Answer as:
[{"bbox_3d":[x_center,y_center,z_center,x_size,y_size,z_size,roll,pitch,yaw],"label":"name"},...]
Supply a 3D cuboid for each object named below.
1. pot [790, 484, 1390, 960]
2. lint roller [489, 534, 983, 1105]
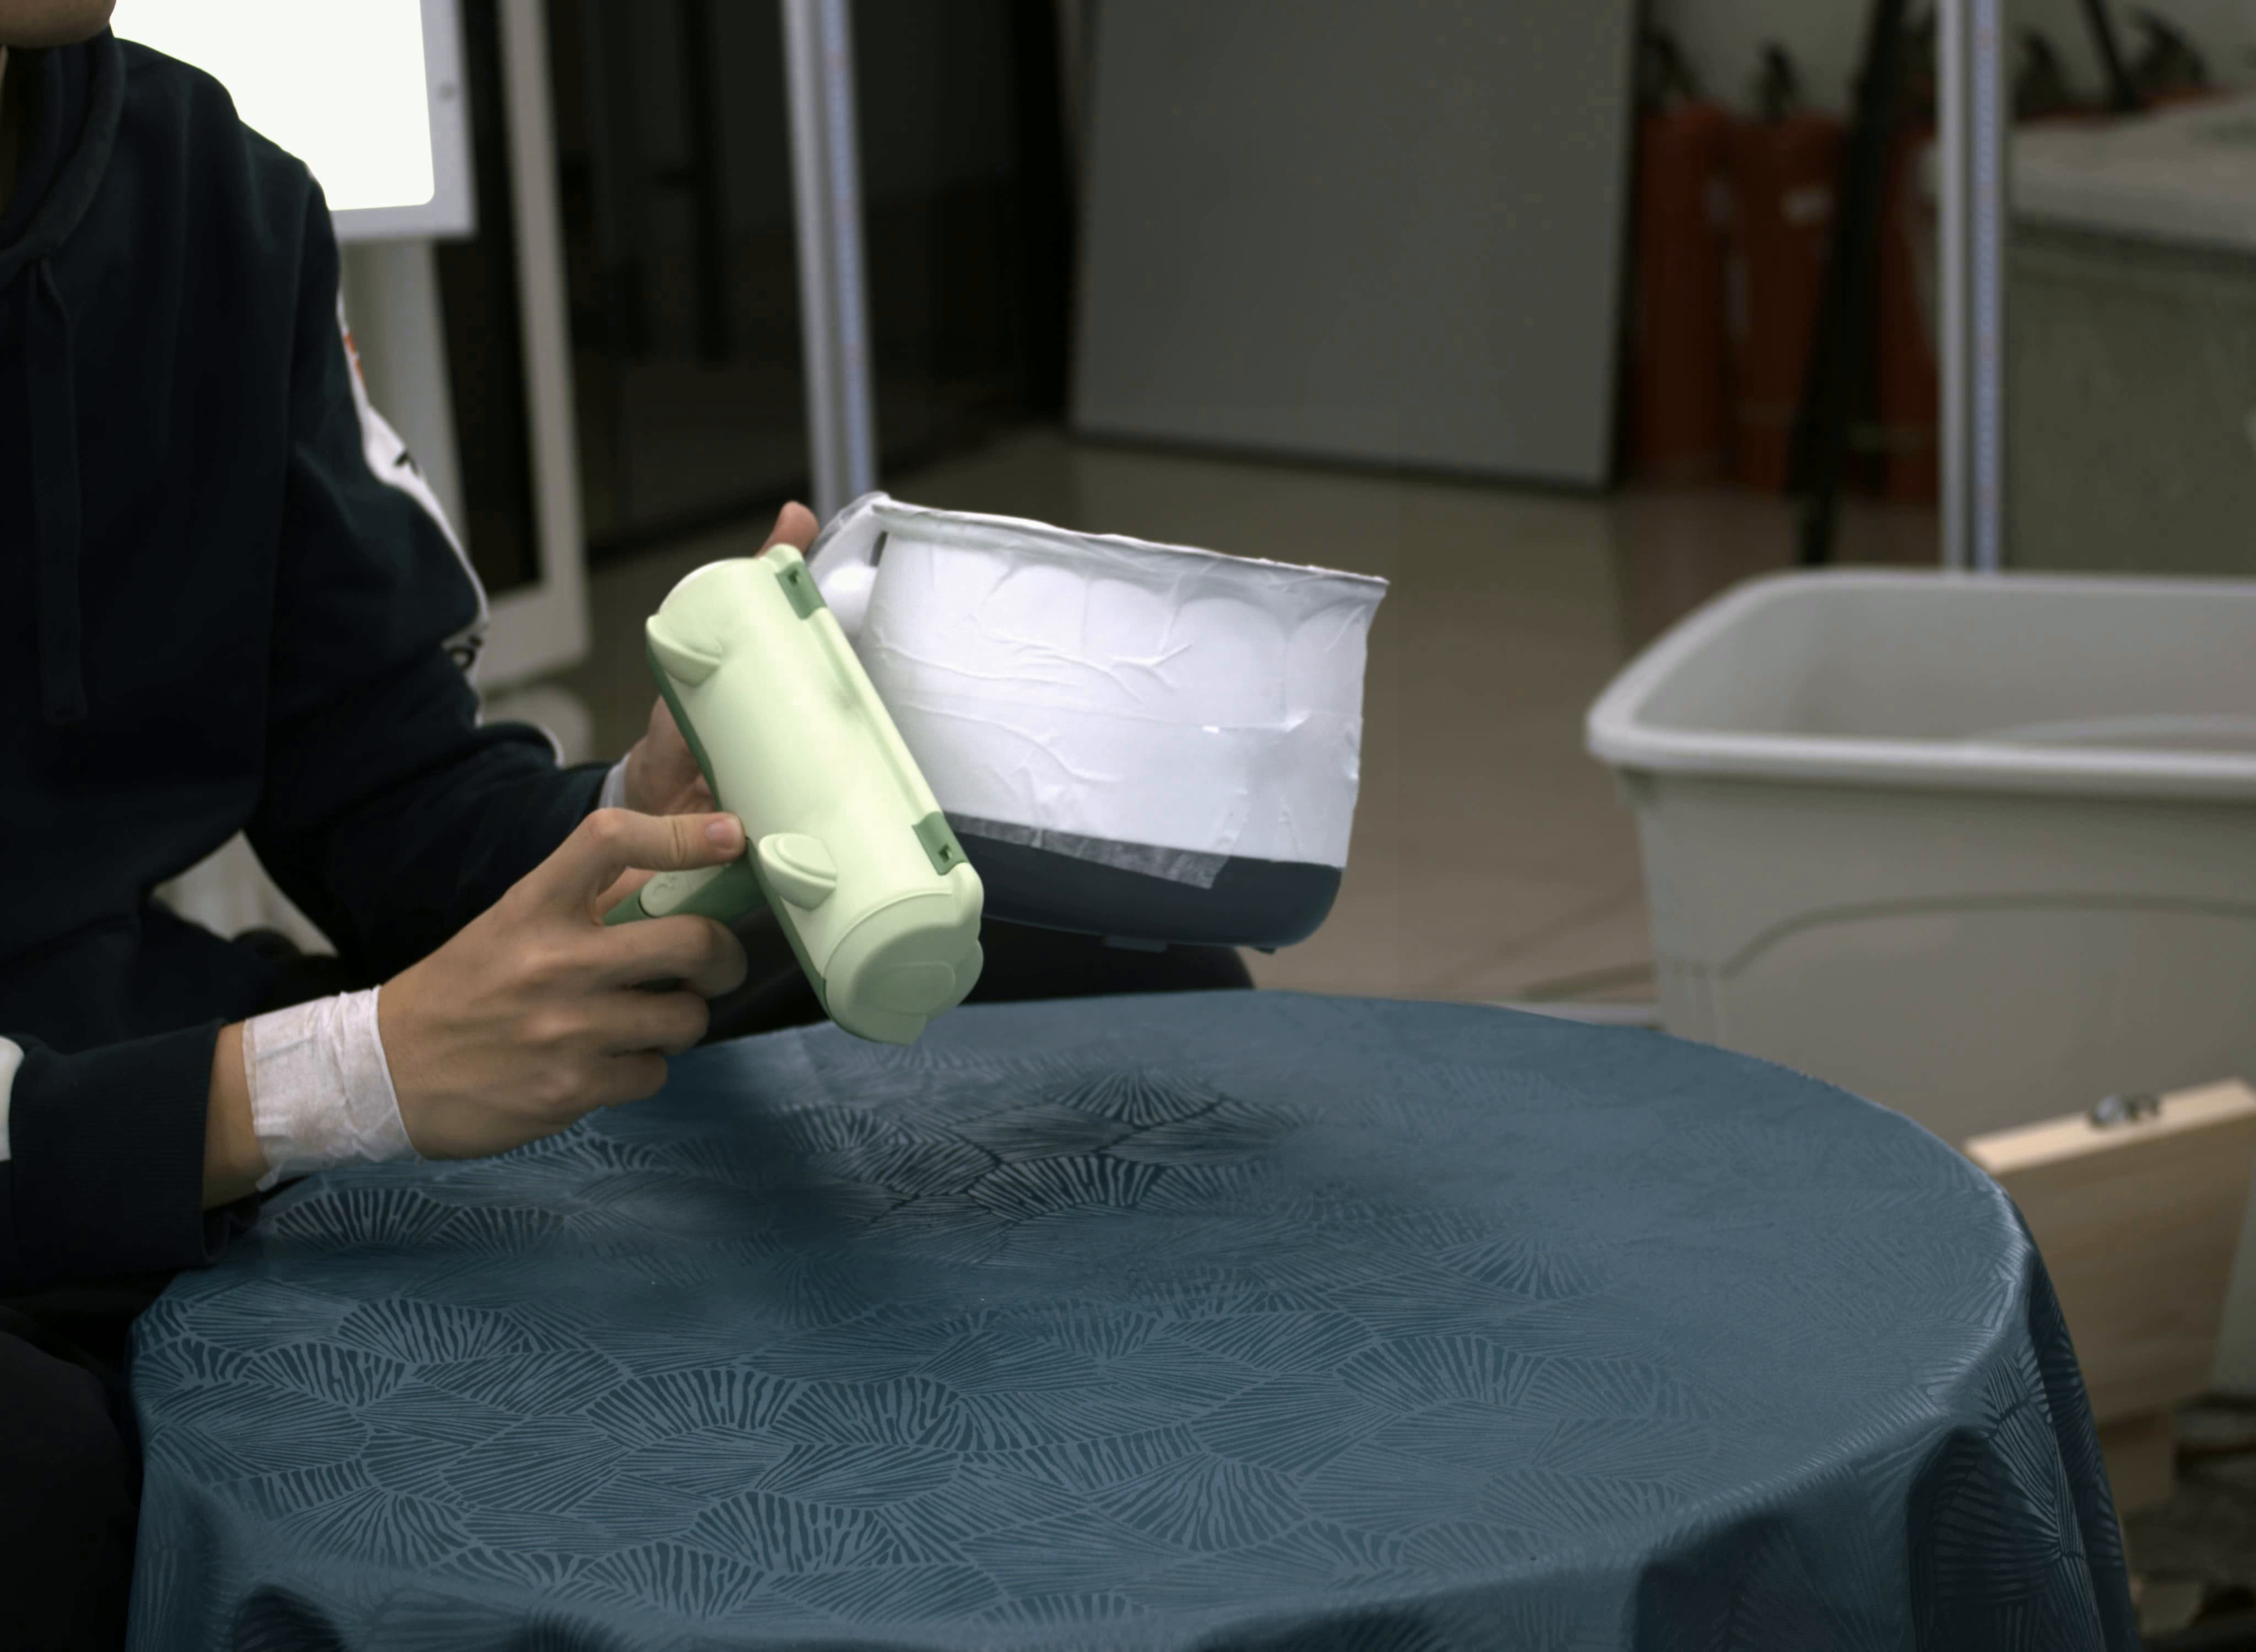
[{"bbox_3d":[-0.033,-0.038,1.820,0.234,0.138,0.176,10,2,28],"label":"pot"},{"bbox_3d":[-0.149,0.017,1.740,0.183,0.081,0.201,-37,46,7],"label":"lint roller"}]
